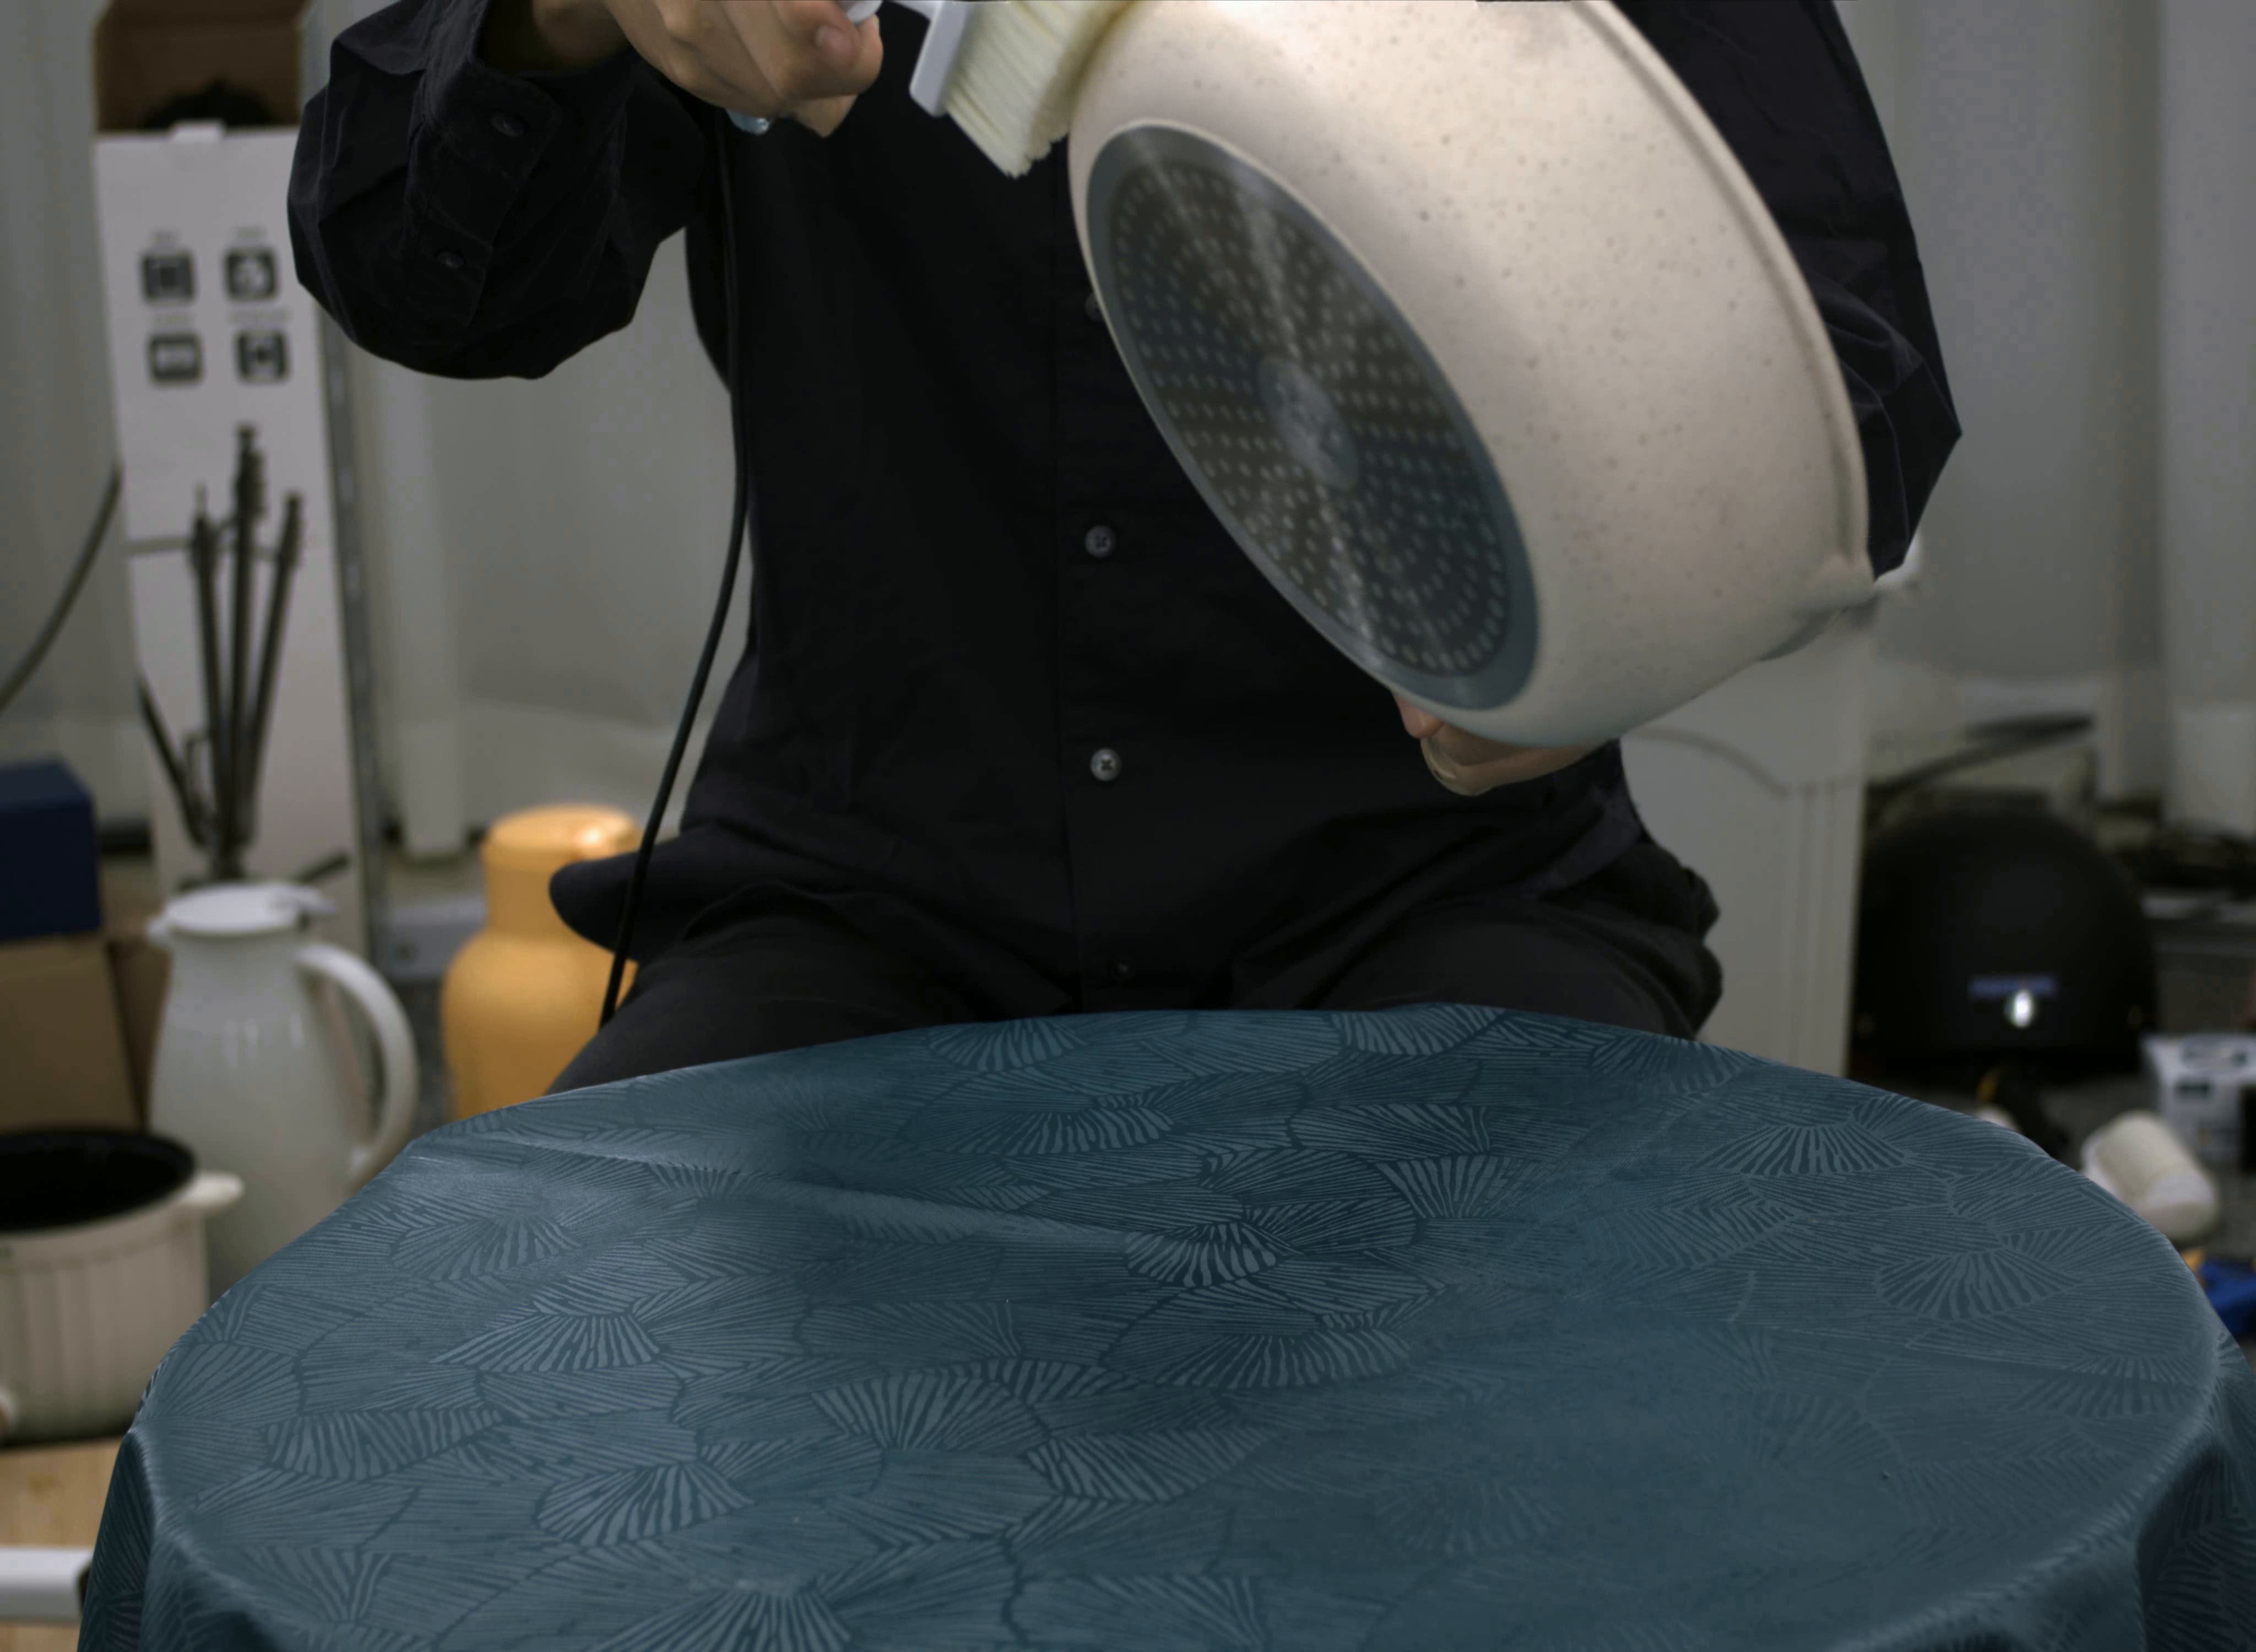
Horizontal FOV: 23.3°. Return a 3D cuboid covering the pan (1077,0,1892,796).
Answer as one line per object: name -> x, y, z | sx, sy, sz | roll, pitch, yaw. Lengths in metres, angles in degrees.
pan -> 0.083, -0.089, 1.531 | 0.102, 0.430, 0.265 | -37, 71, -19

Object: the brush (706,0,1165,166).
brush -> -0.044, -0.221, 1.567 | 0.083, 0.085, 0.325 | -11, -1, -18
